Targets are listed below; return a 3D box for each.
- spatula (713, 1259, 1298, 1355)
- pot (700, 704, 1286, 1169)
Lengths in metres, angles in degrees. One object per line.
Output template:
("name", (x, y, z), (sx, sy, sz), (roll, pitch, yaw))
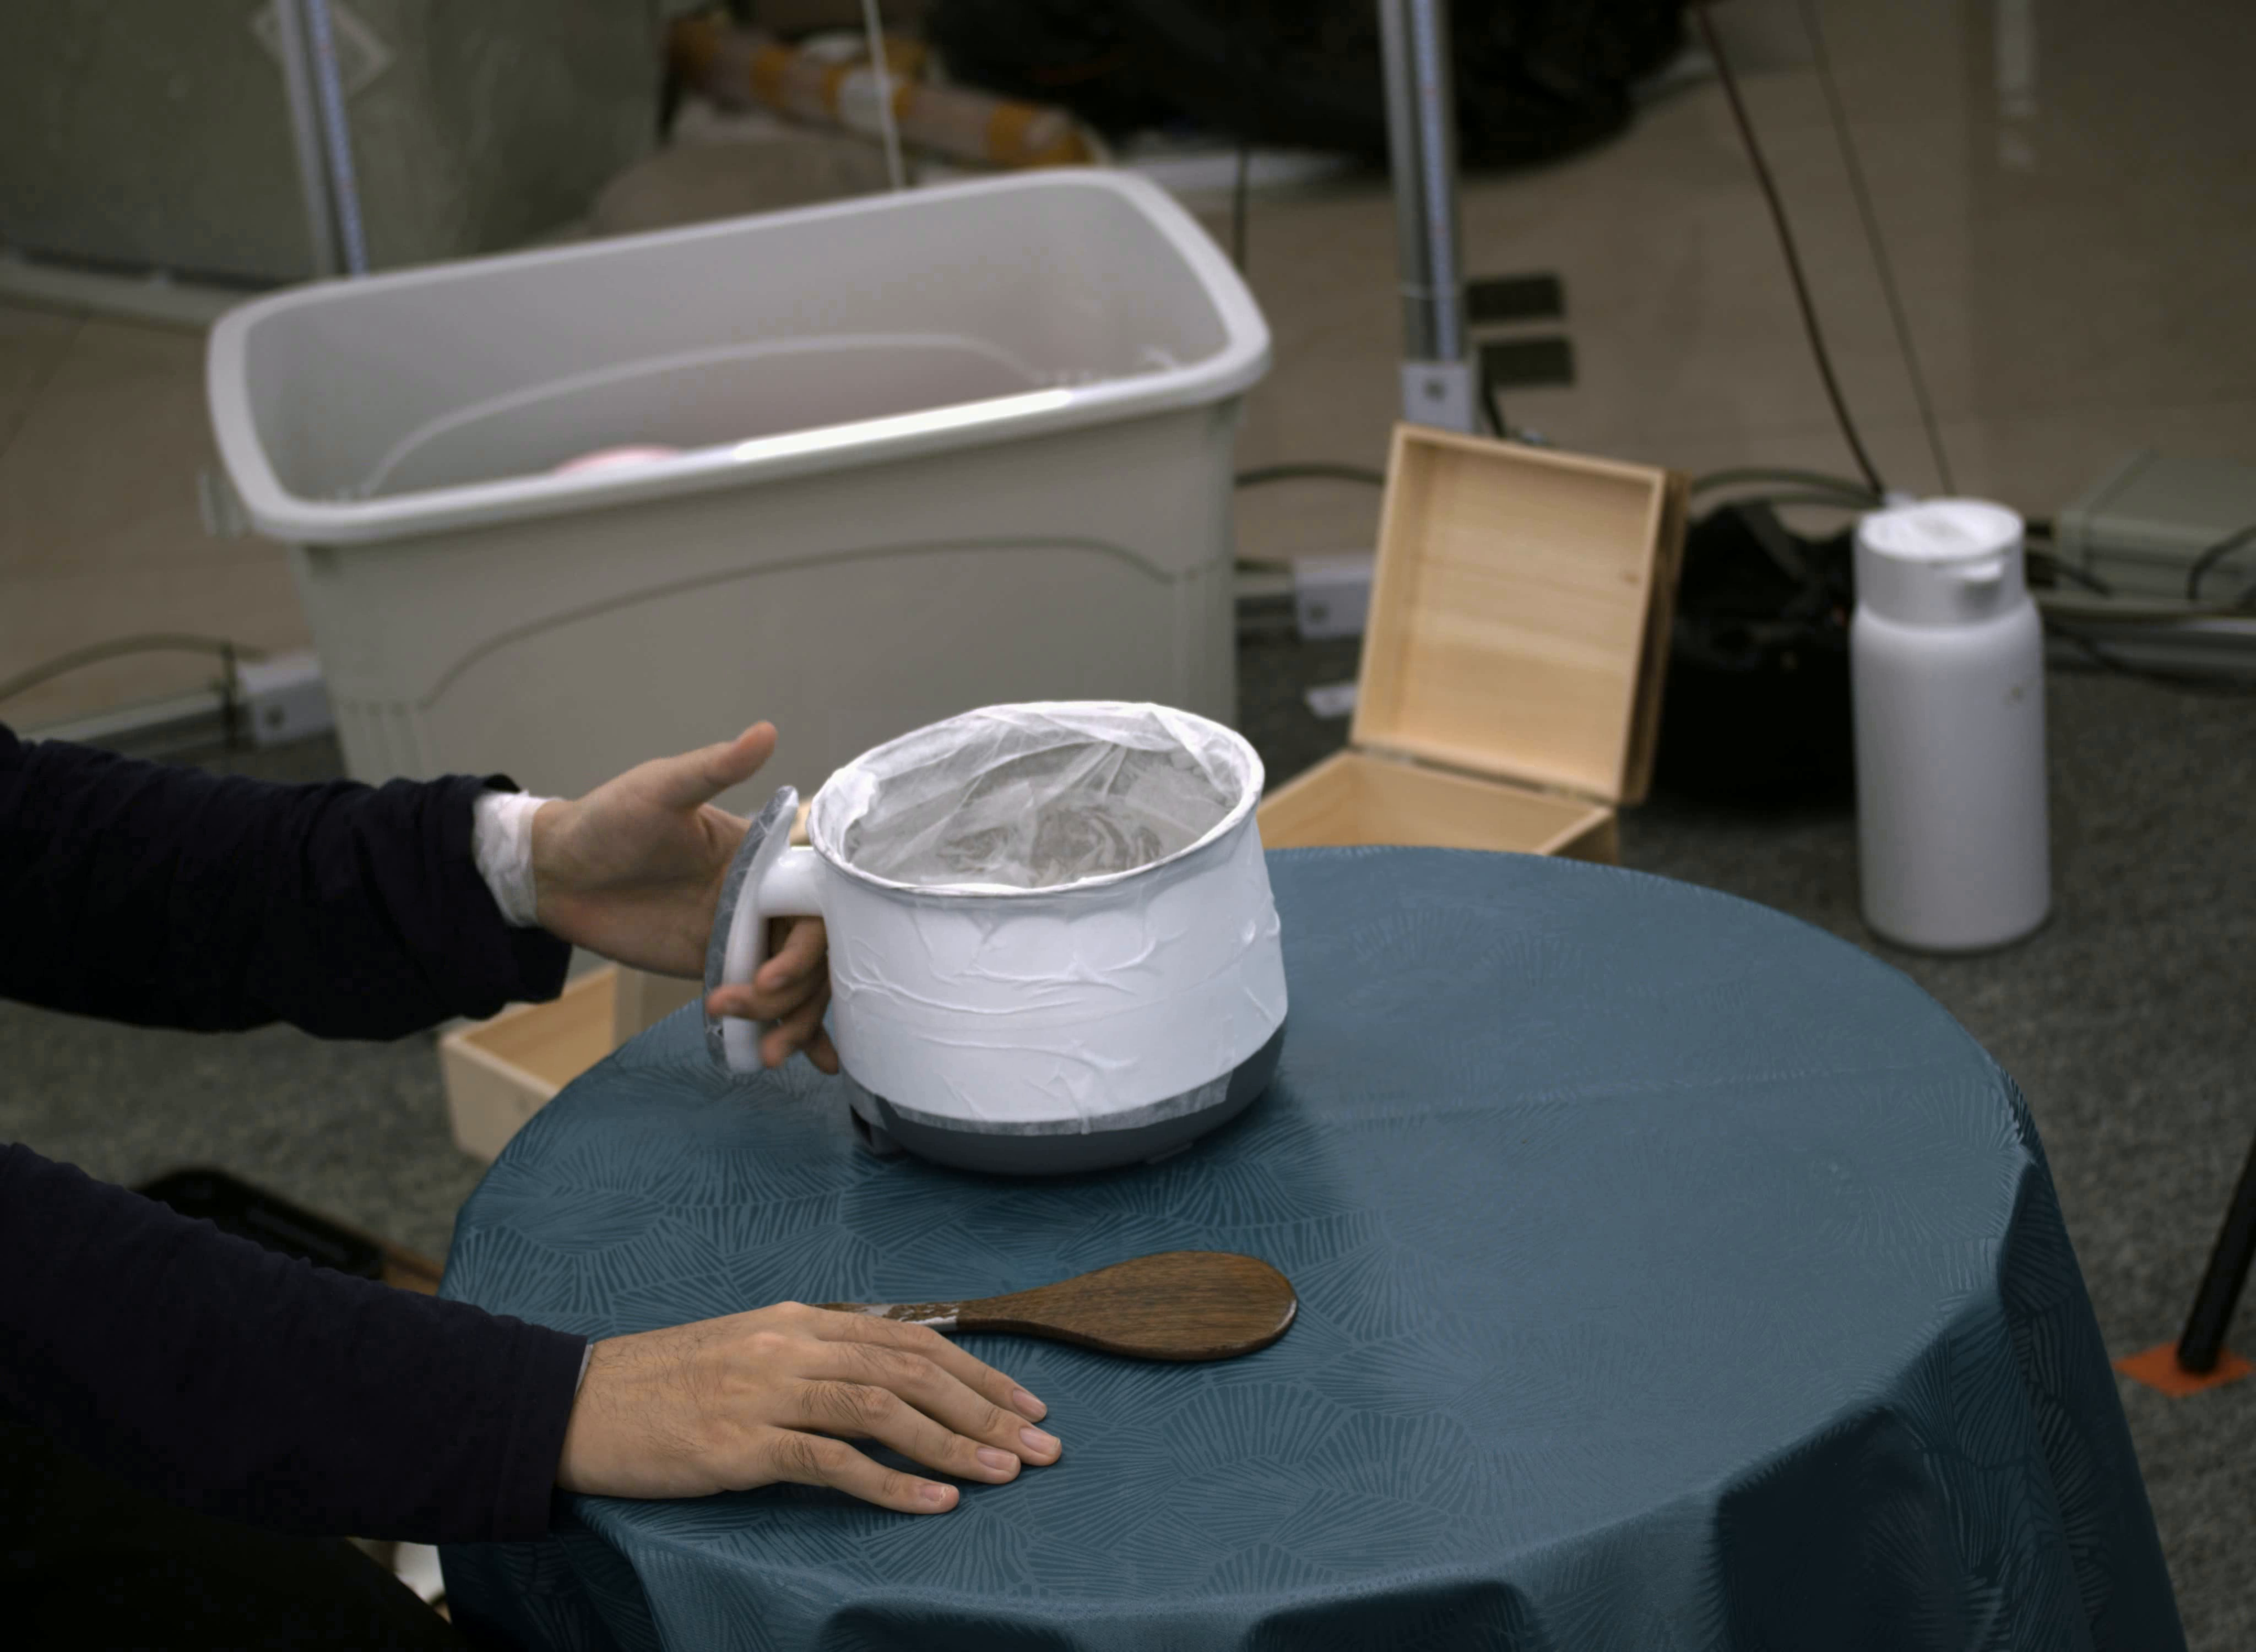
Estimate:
("spatula", (-0.045, 0.180, 2.069), (0.215, 0.009, 0.071), (-4, 23, 8))
("pot", (-0.056, 0.044, 2.201), (0.233, 0.138, 0.176), (0, 23, 10))
